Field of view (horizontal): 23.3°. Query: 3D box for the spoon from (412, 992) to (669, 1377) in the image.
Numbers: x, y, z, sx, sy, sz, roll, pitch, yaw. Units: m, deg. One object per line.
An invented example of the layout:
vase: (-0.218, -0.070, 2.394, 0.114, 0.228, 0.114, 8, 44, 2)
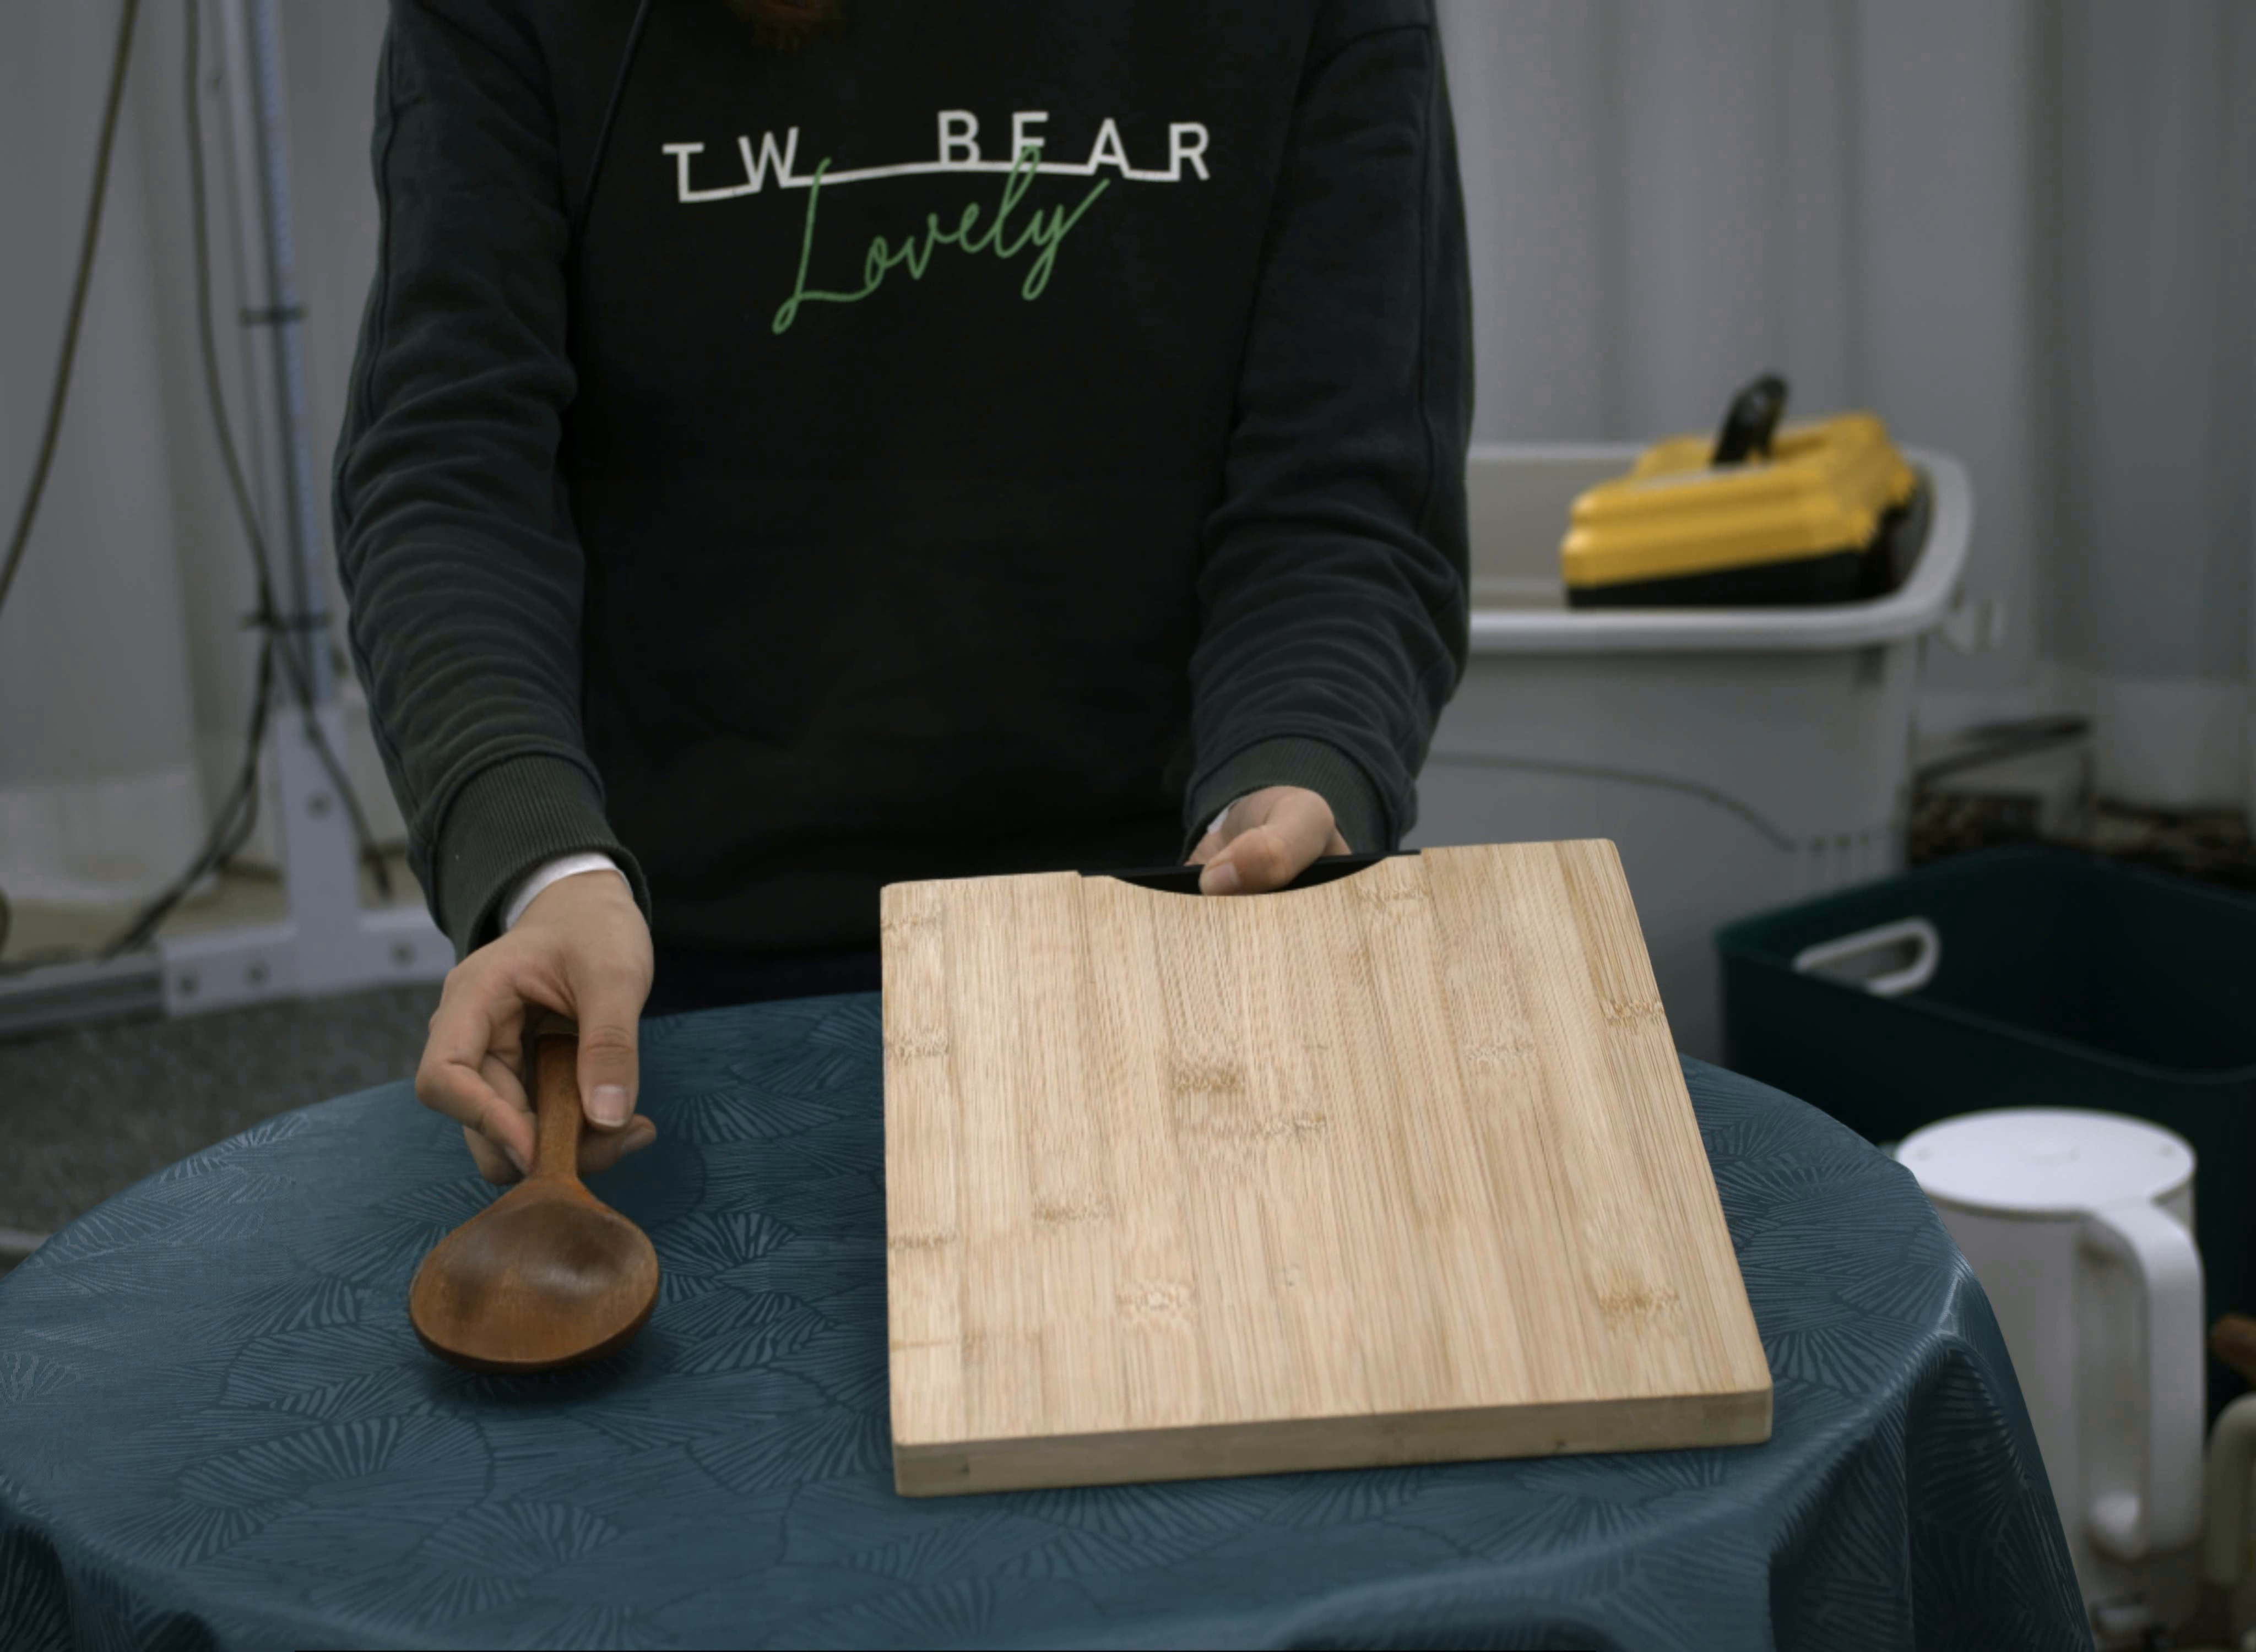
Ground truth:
spoon: (-0.172, 0.108, 1.649, 0.075, 0.017, 0.218, -5, 27, 1)

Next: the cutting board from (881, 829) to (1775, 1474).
cutting board: (0.048, 0.091, 1.633, 0.250, 0.023, 0.353, -3, 26, -2)
